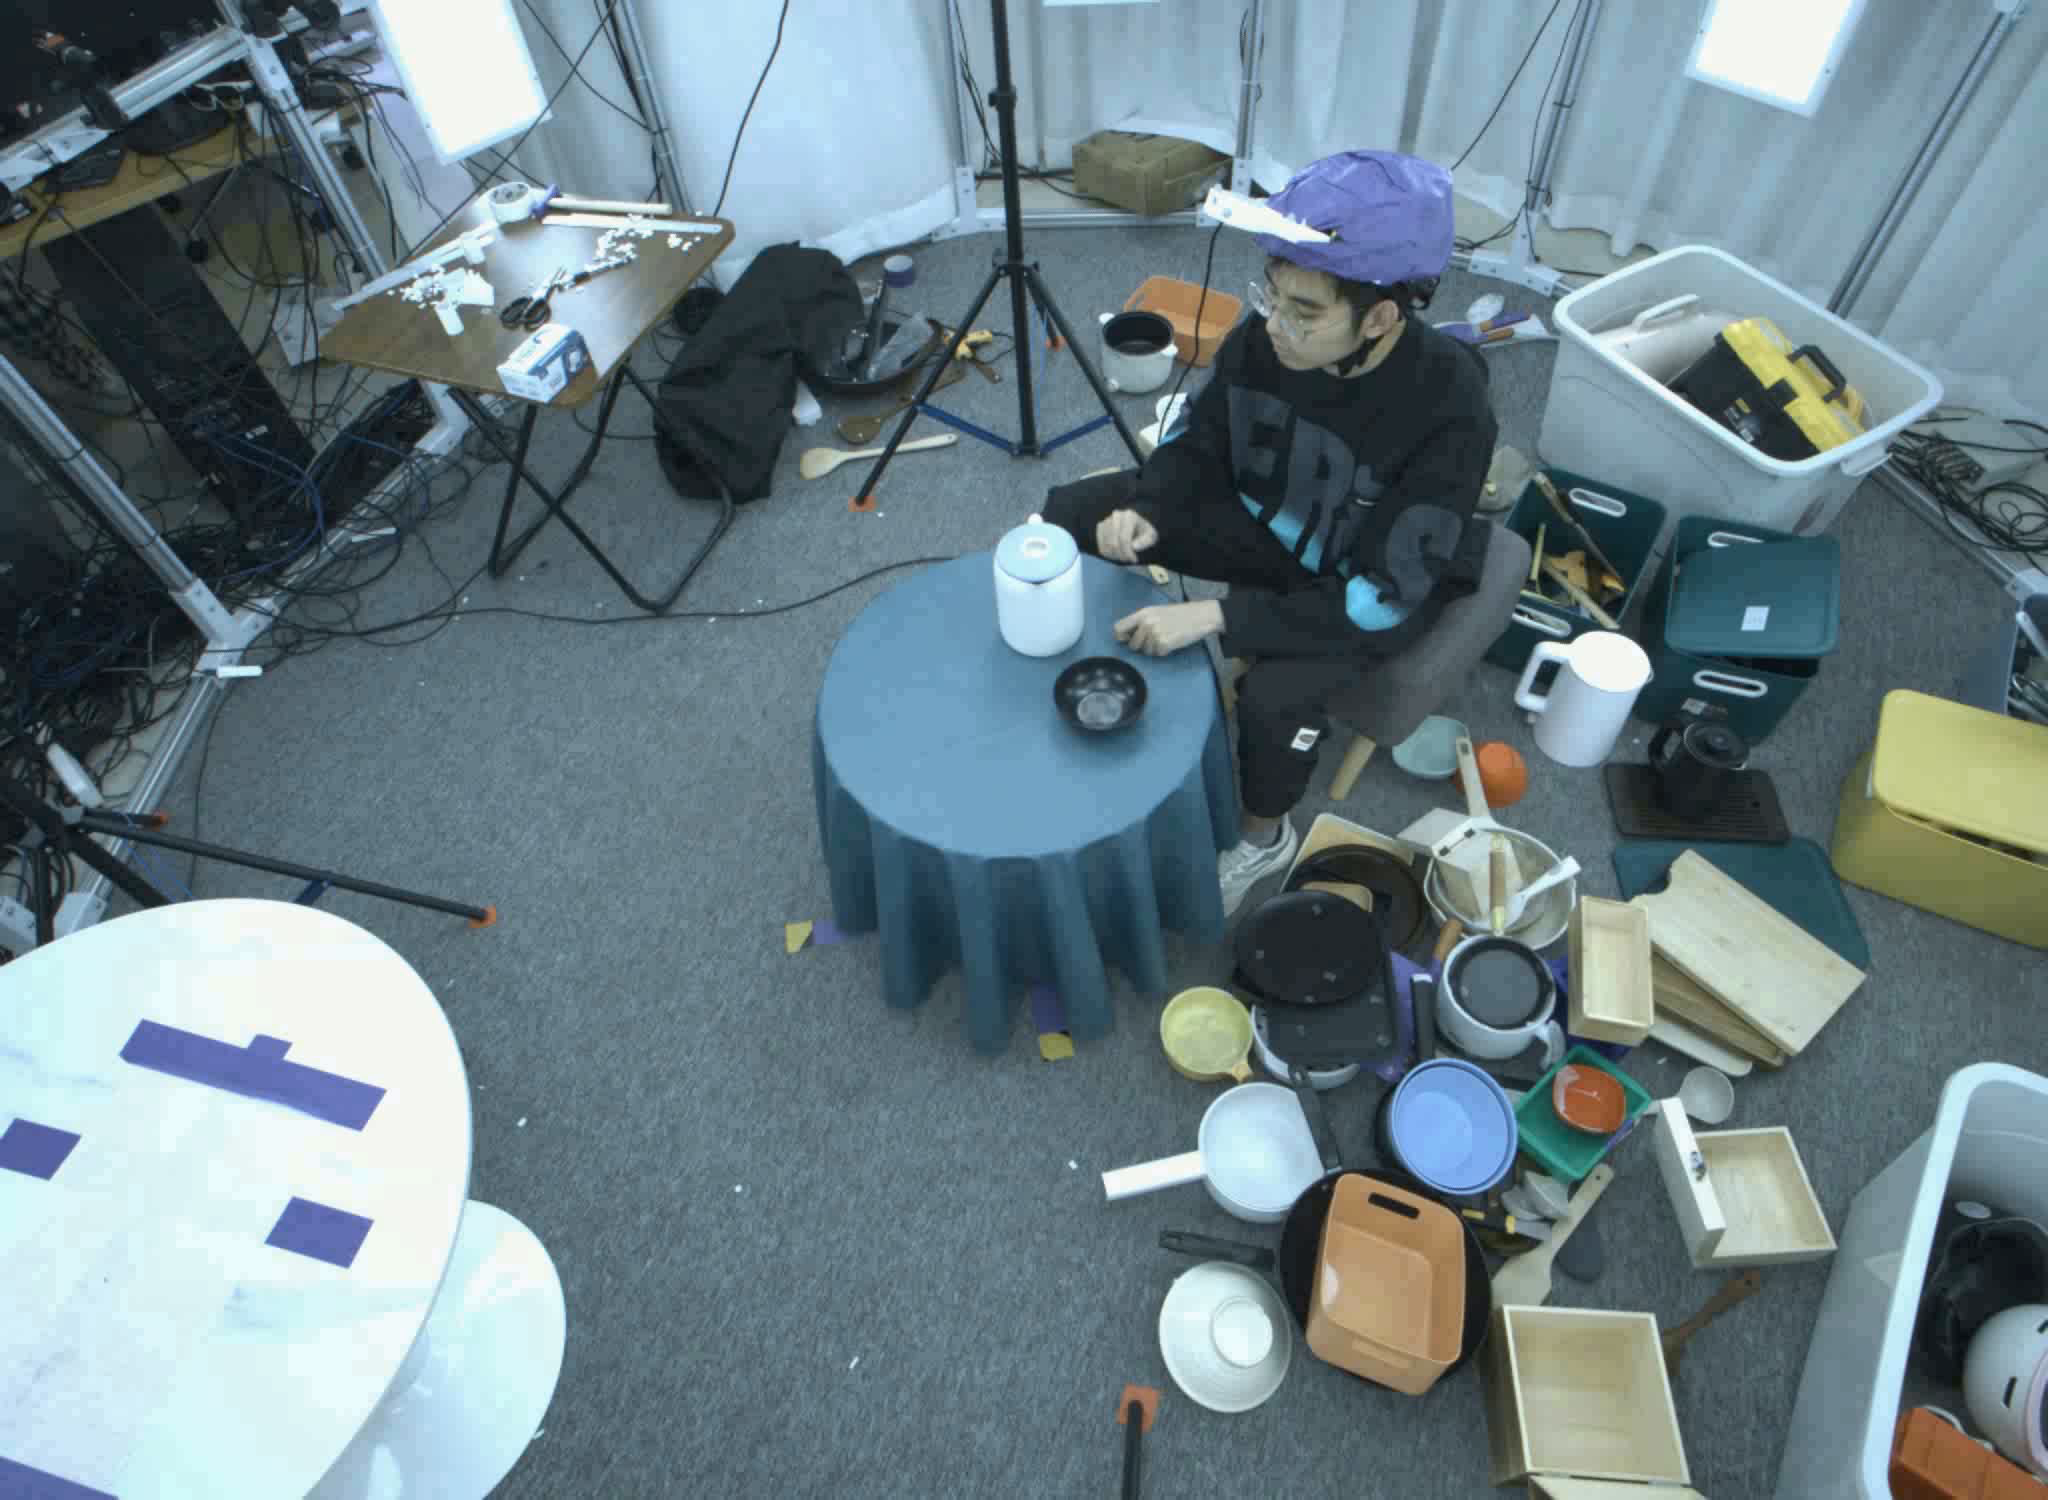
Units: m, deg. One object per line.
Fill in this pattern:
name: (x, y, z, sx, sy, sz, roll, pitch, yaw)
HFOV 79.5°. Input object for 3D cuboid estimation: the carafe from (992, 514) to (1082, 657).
carafe: (0.019, -0.261, 1.863, 0.132, 0.184, 0.188, -4, 52, -1)

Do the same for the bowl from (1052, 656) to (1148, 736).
bowl: (0.111, -0.070, 1.799, 0.140, 0.050, 0.138, 0, 53, 1)
